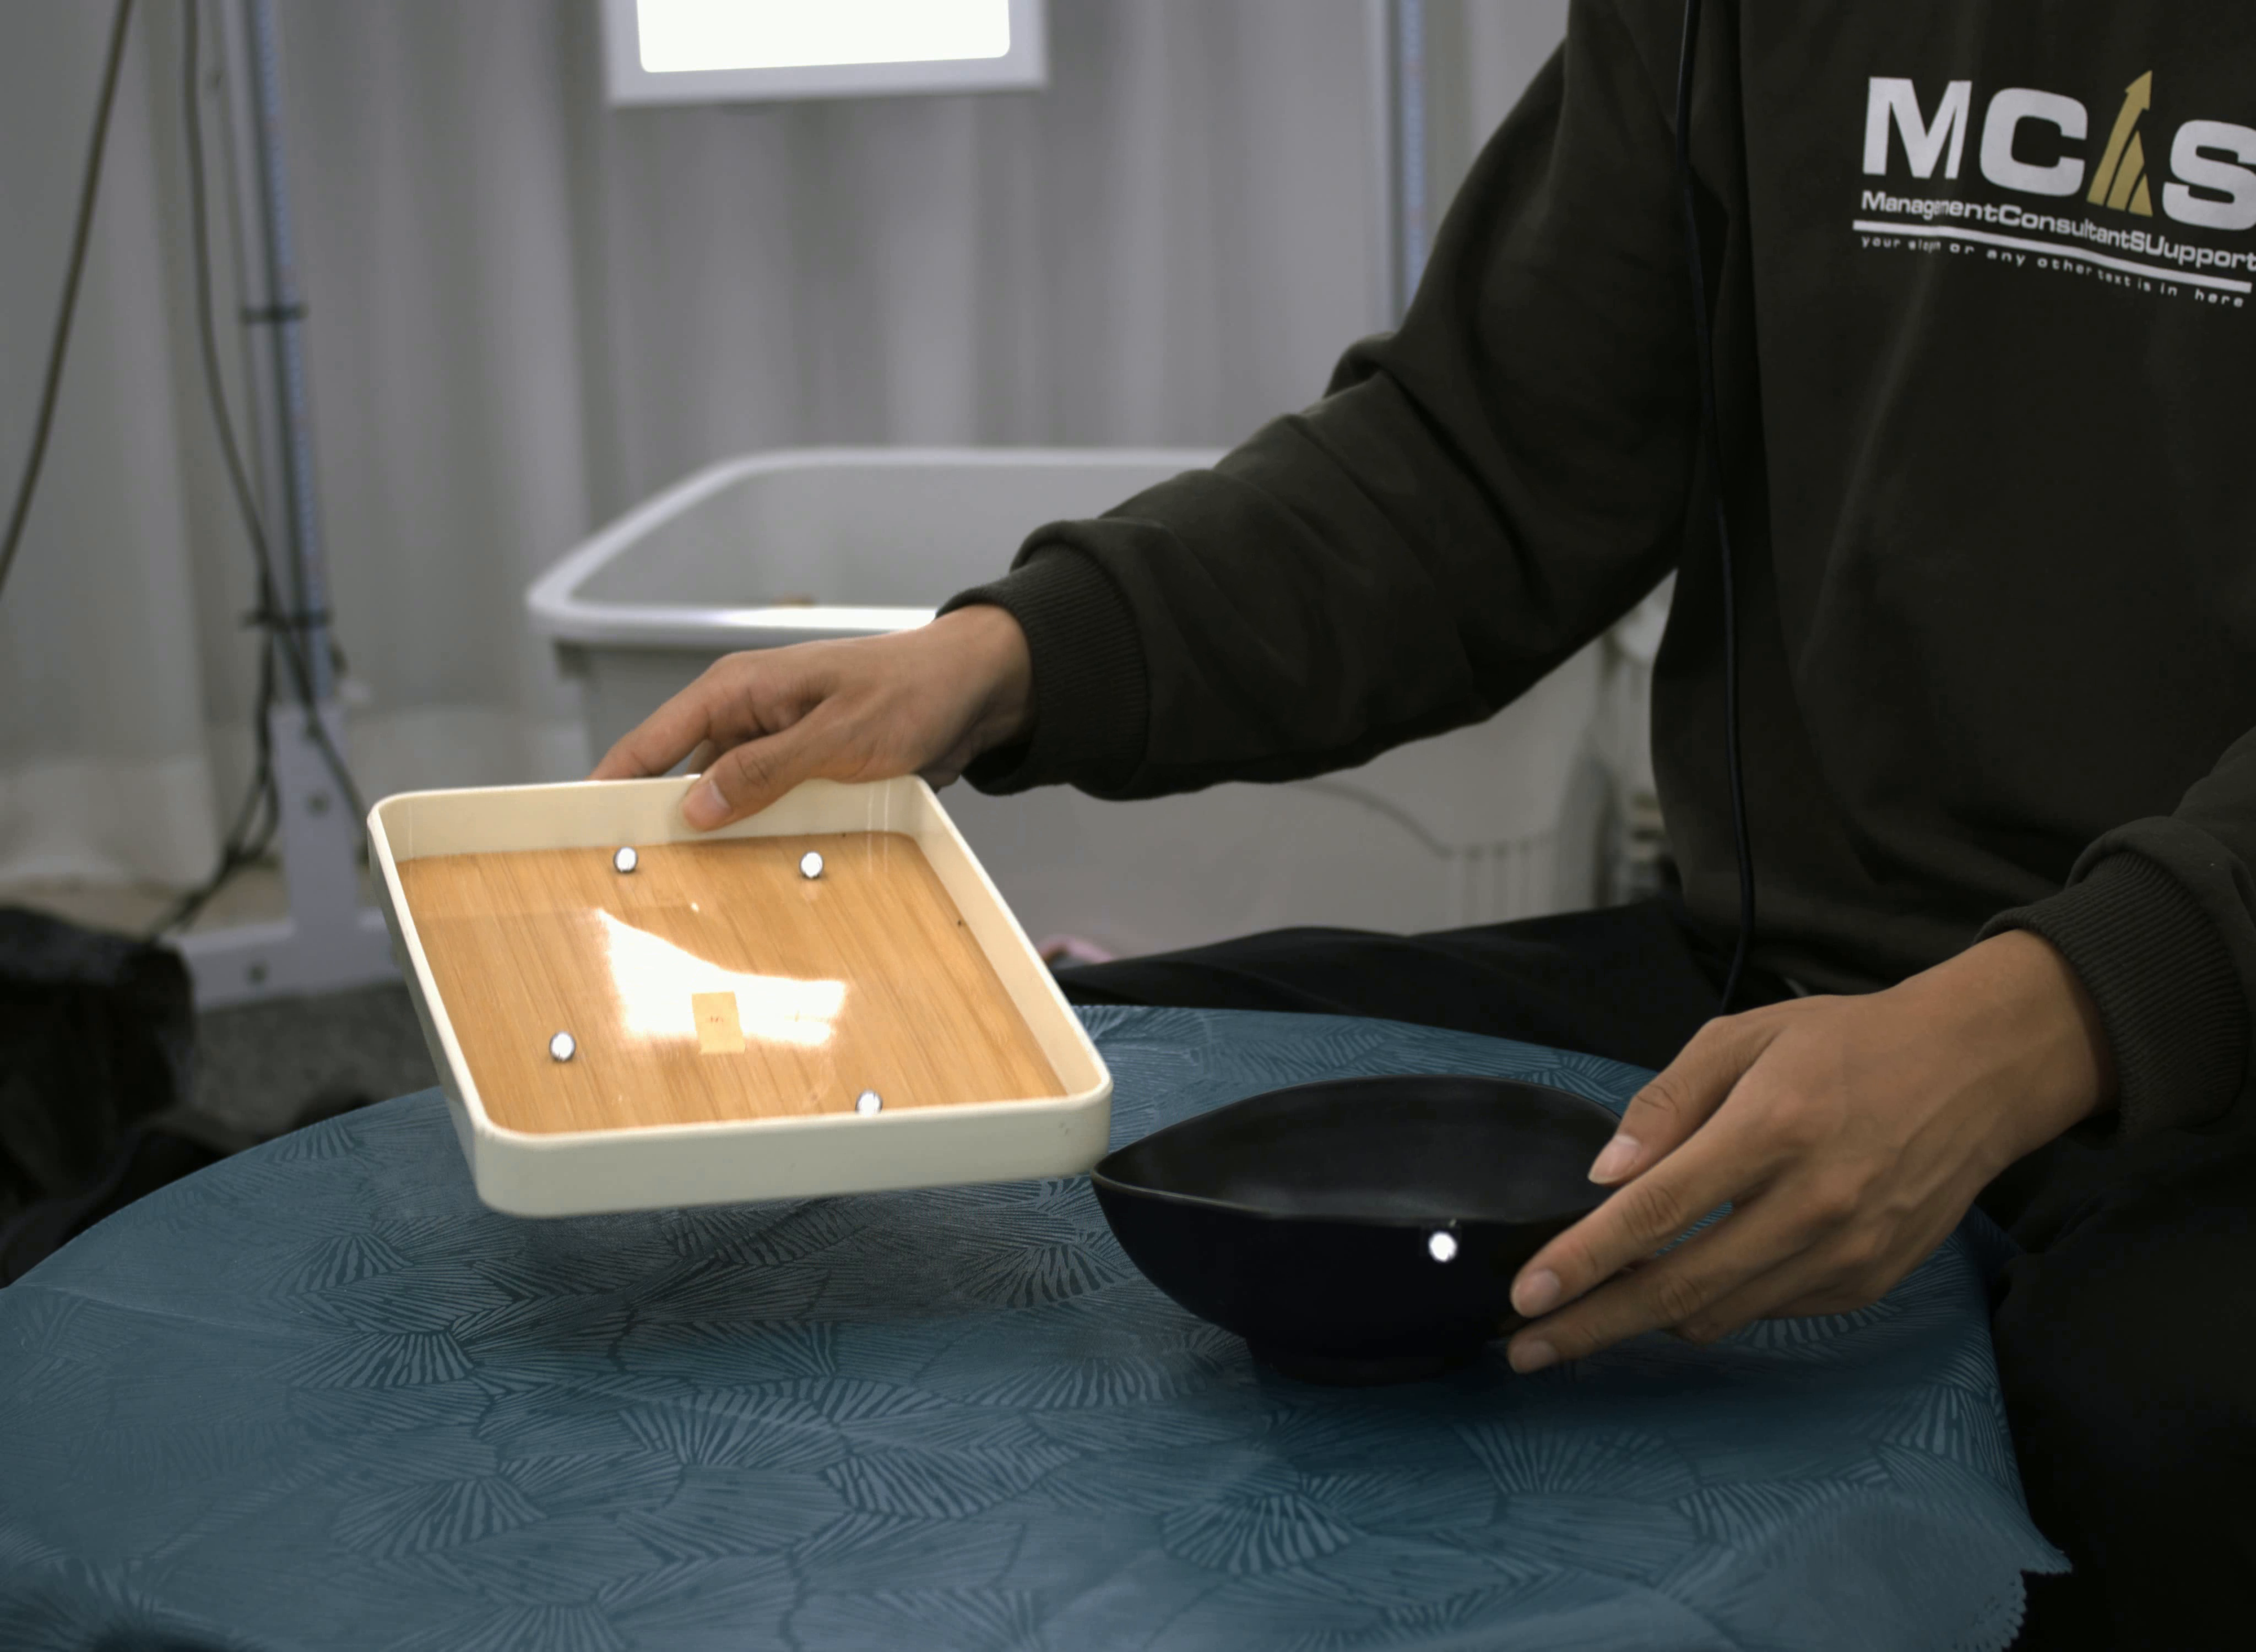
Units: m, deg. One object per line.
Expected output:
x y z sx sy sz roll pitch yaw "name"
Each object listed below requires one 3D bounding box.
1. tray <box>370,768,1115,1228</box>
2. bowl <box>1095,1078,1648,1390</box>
-0.128 0.049 1.722 0.190 0.027 0.303 -4 21 -13 "tray"
0.068 0.121 1.564 0.171 0.066 0.137 4 14 33 "bowl"
